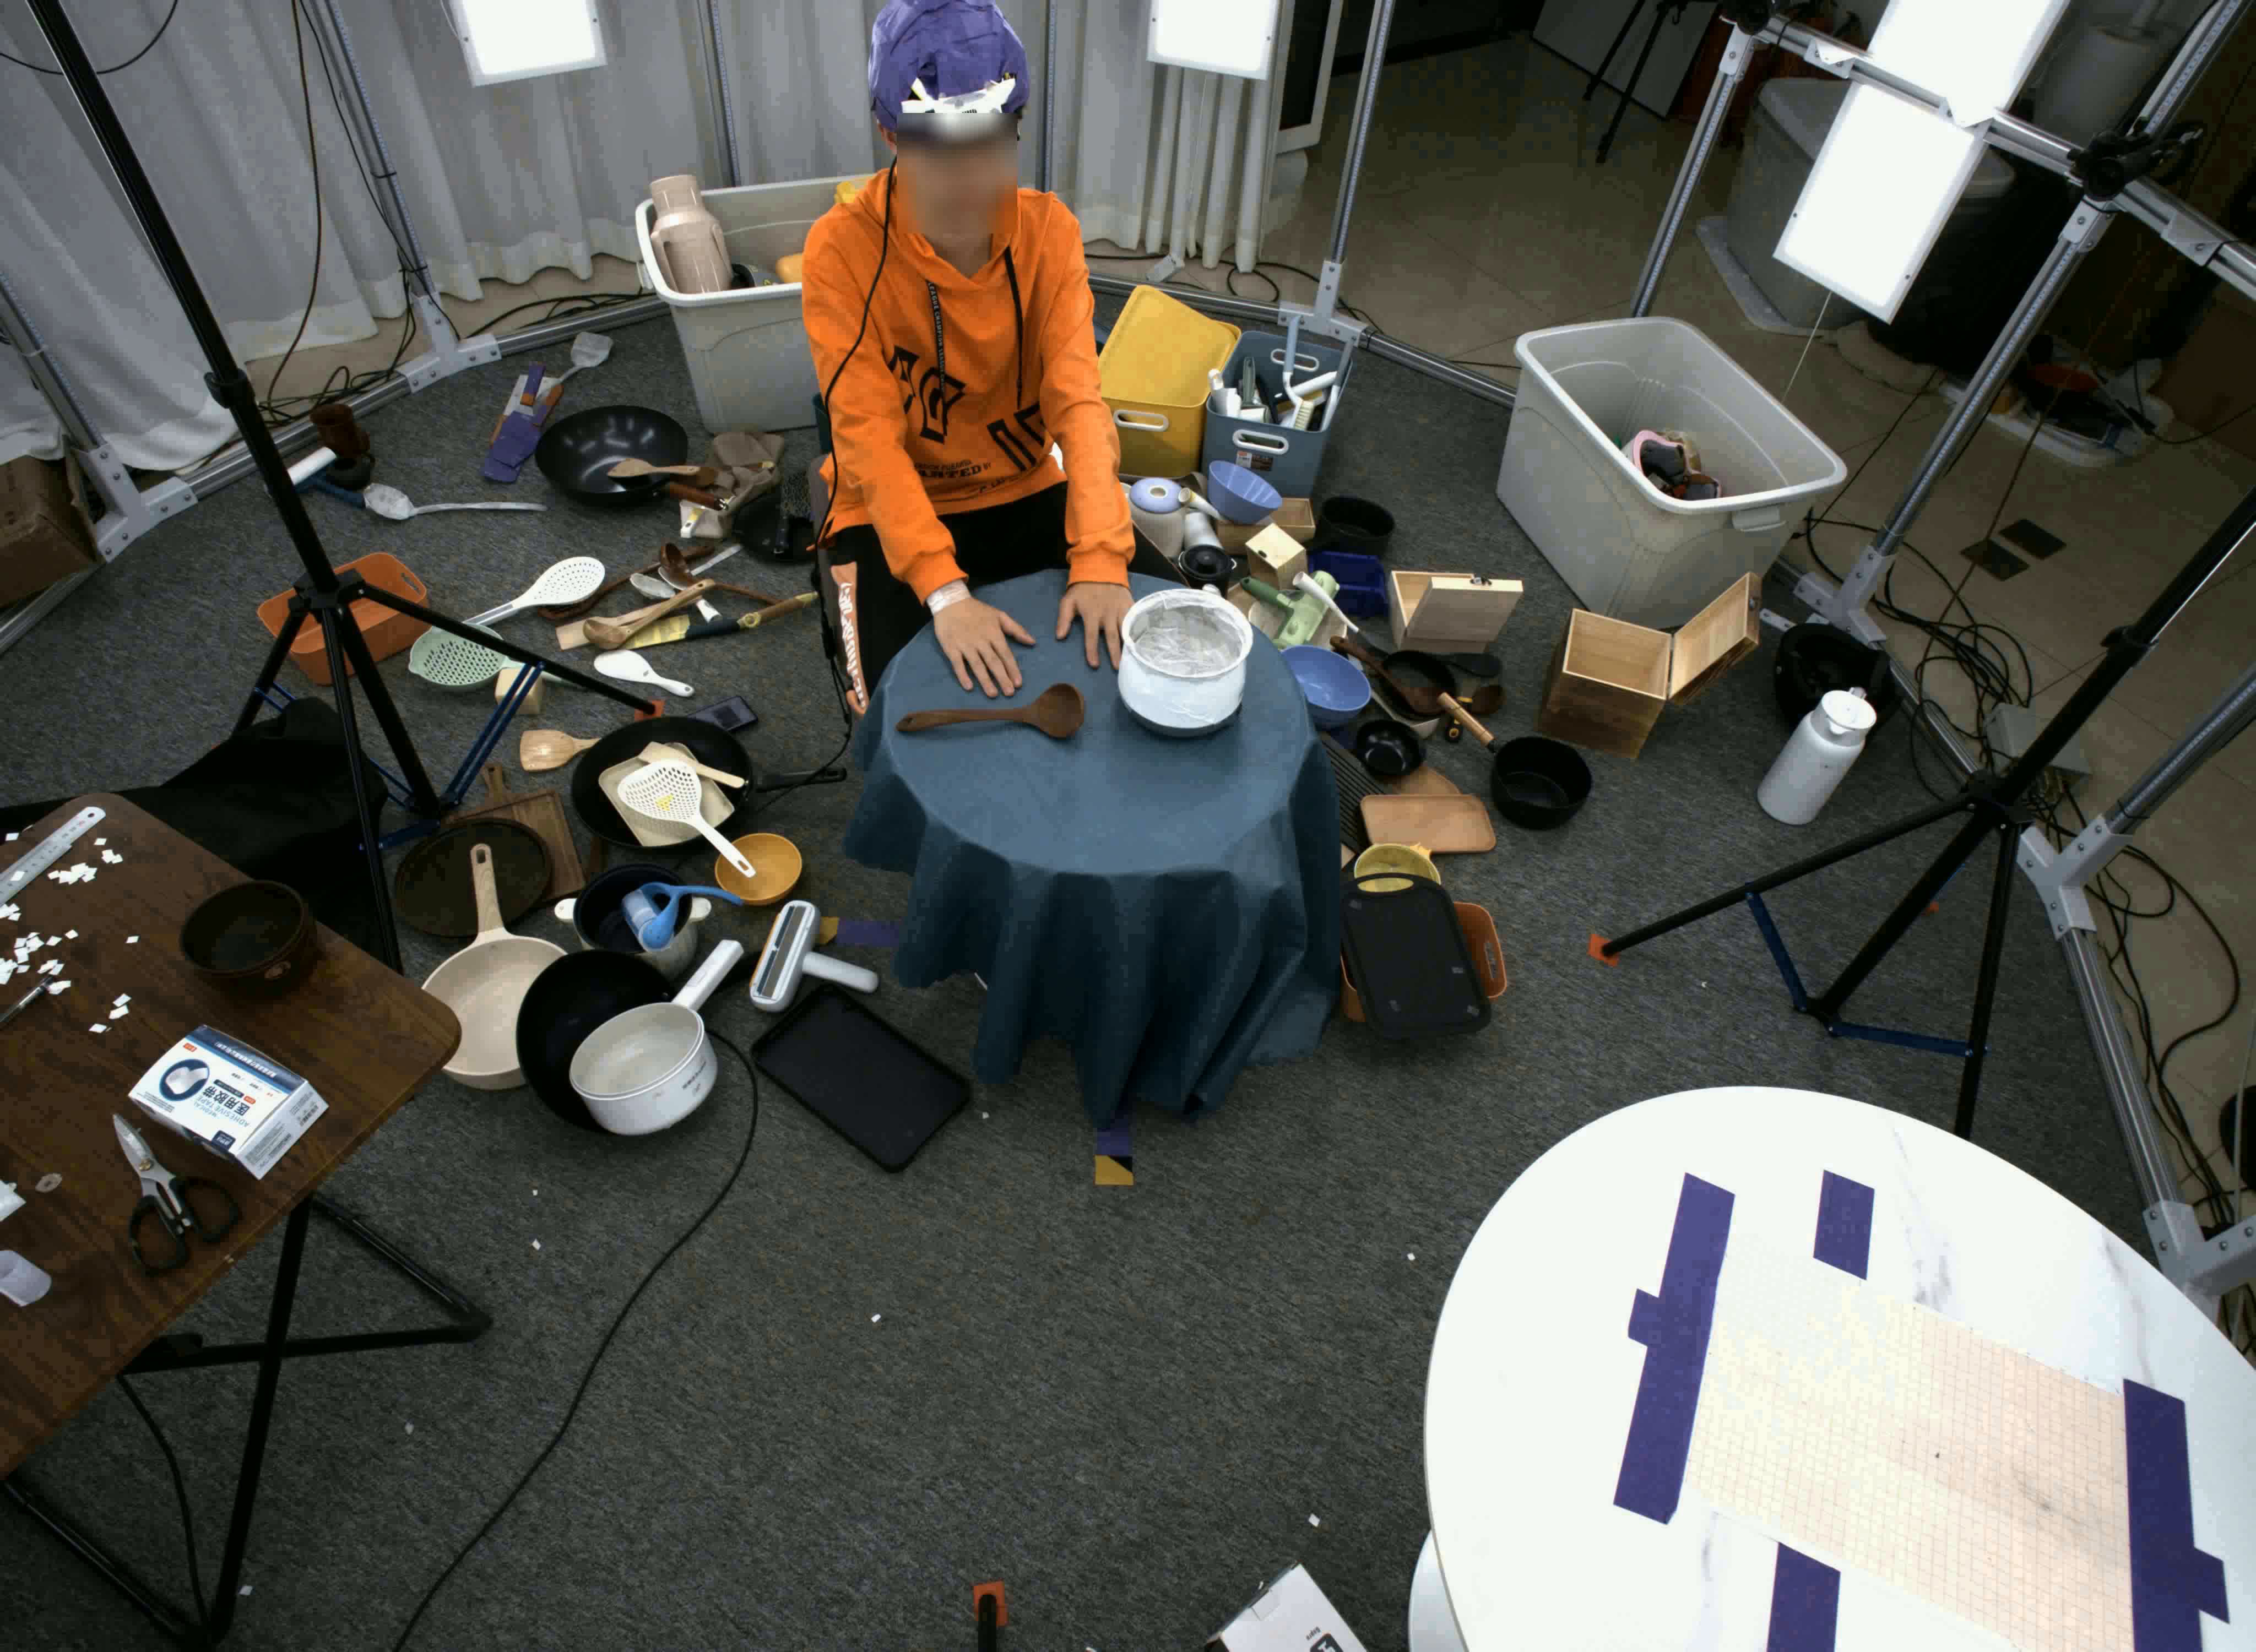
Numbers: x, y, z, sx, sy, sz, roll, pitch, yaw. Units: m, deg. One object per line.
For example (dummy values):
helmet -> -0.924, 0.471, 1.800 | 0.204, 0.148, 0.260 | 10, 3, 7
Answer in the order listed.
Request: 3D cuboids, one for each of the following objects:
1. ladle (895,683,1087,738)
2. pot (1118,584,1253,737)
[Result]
ladle -> -0.187, -0.153, 1.750 | 0.260, 0.064, 0.077 | -3, 75, -7
pot -> 0.085, -0.242, 1.795 | 0.179, 0.133, 0.238 | 17, 51, 9
